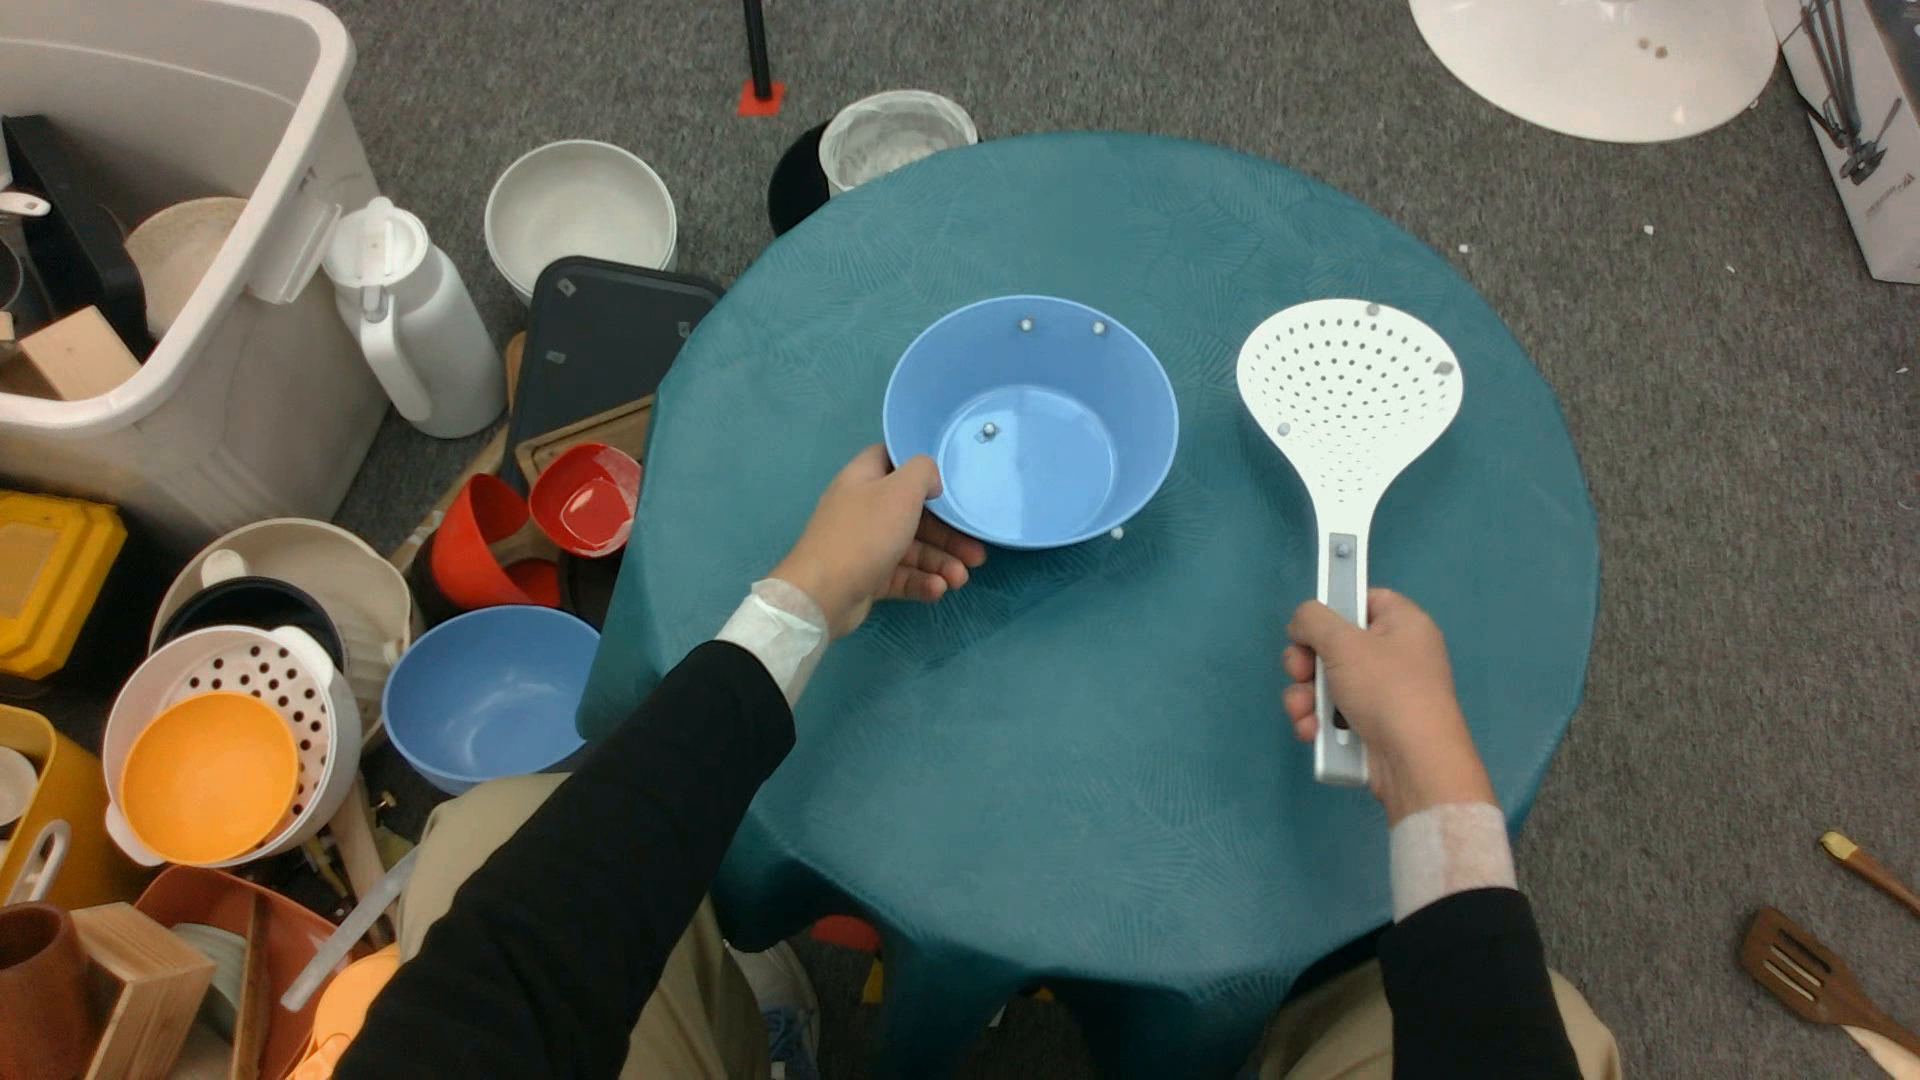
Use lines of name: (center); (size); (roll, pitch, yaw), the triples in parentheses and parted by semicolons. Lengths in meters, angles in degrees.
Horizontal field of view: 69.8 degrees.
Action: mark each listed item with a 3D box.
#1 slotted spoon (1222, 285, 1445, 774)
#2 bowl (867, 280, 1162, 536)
slotted spoon: (0.217, -0.022, 0.805); (0.136, 0.045, 0.351); (4, 49, 10)
bowl: (0.032, -0.069, 0.843); (0.176, 0.070, 0.176); (1, 64, -1)
